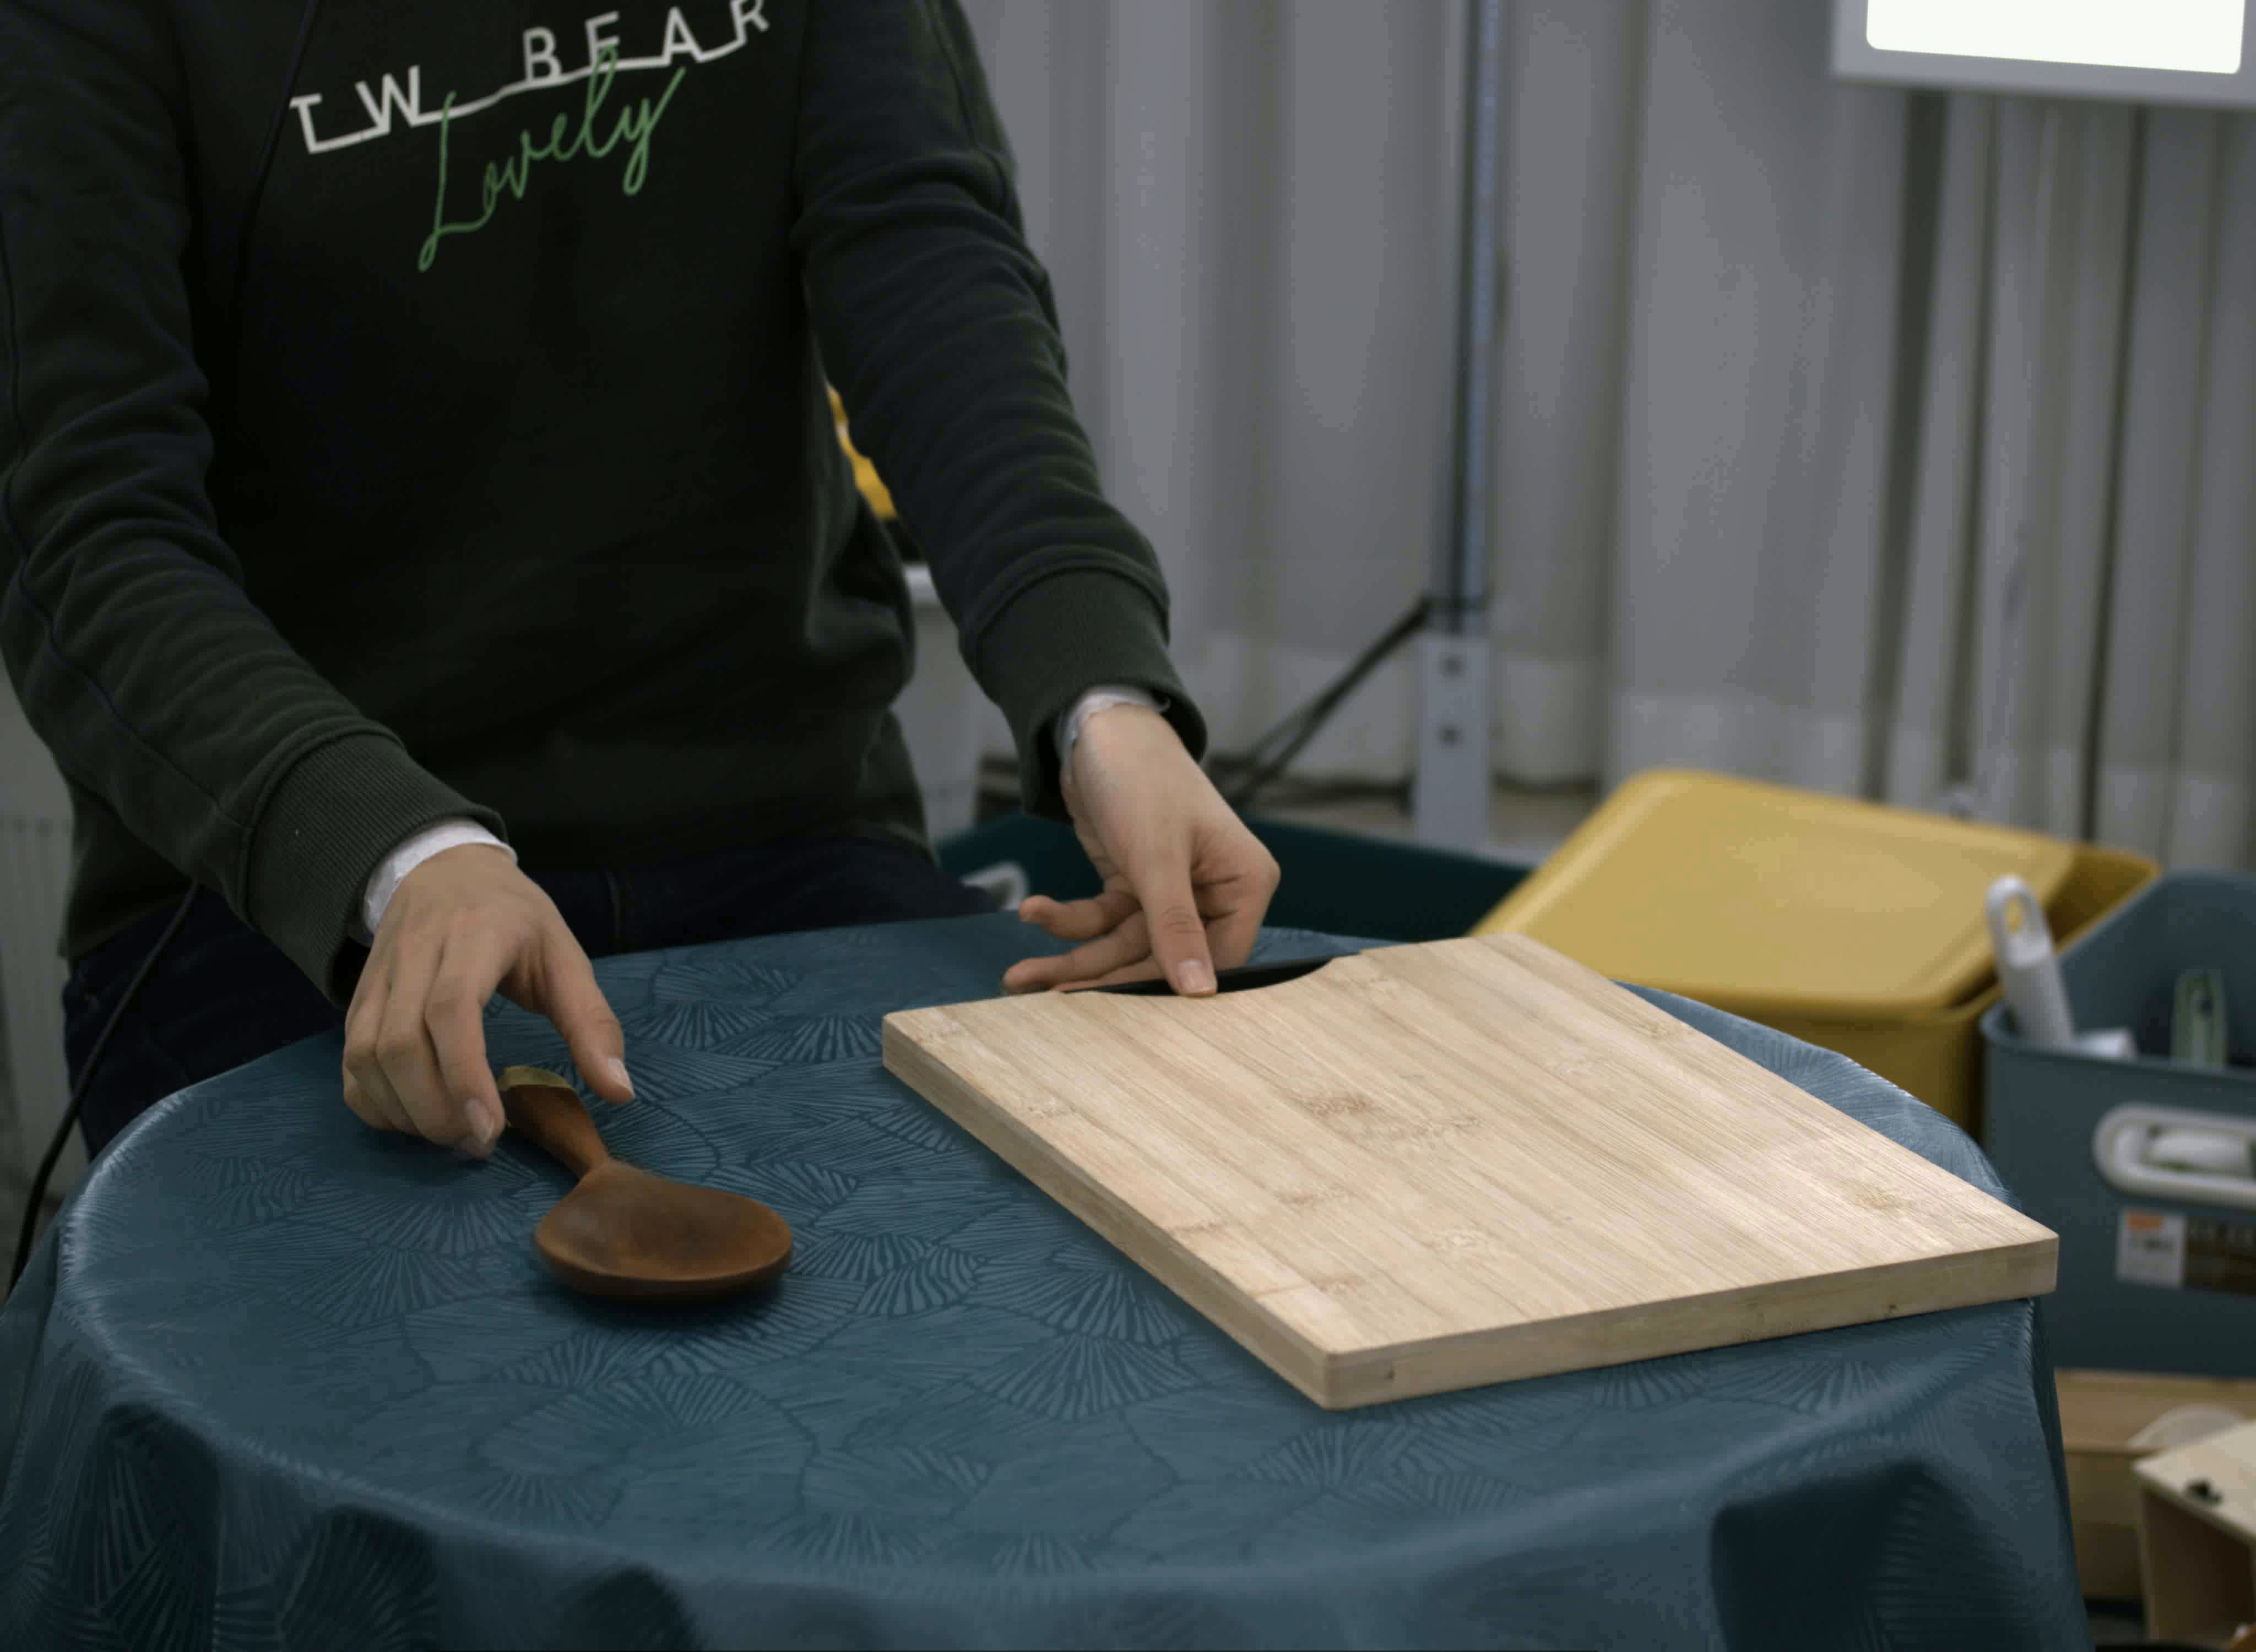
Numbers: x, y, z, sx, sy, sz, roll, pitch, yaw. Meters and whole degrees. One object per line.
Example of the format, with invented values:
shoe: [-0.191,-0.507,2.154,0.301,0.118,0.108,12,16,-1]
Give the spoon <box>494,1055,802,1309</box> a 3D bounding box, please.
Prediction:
spoon: [-0.156,0.109,1.601,0.075,0.017,0.213,-7,18,-19]

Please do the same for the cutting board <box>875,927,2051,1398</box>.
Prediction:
cutting board: [0.093,0.099,1.651,0.251,0.024,0.344,-6,17,-25]
